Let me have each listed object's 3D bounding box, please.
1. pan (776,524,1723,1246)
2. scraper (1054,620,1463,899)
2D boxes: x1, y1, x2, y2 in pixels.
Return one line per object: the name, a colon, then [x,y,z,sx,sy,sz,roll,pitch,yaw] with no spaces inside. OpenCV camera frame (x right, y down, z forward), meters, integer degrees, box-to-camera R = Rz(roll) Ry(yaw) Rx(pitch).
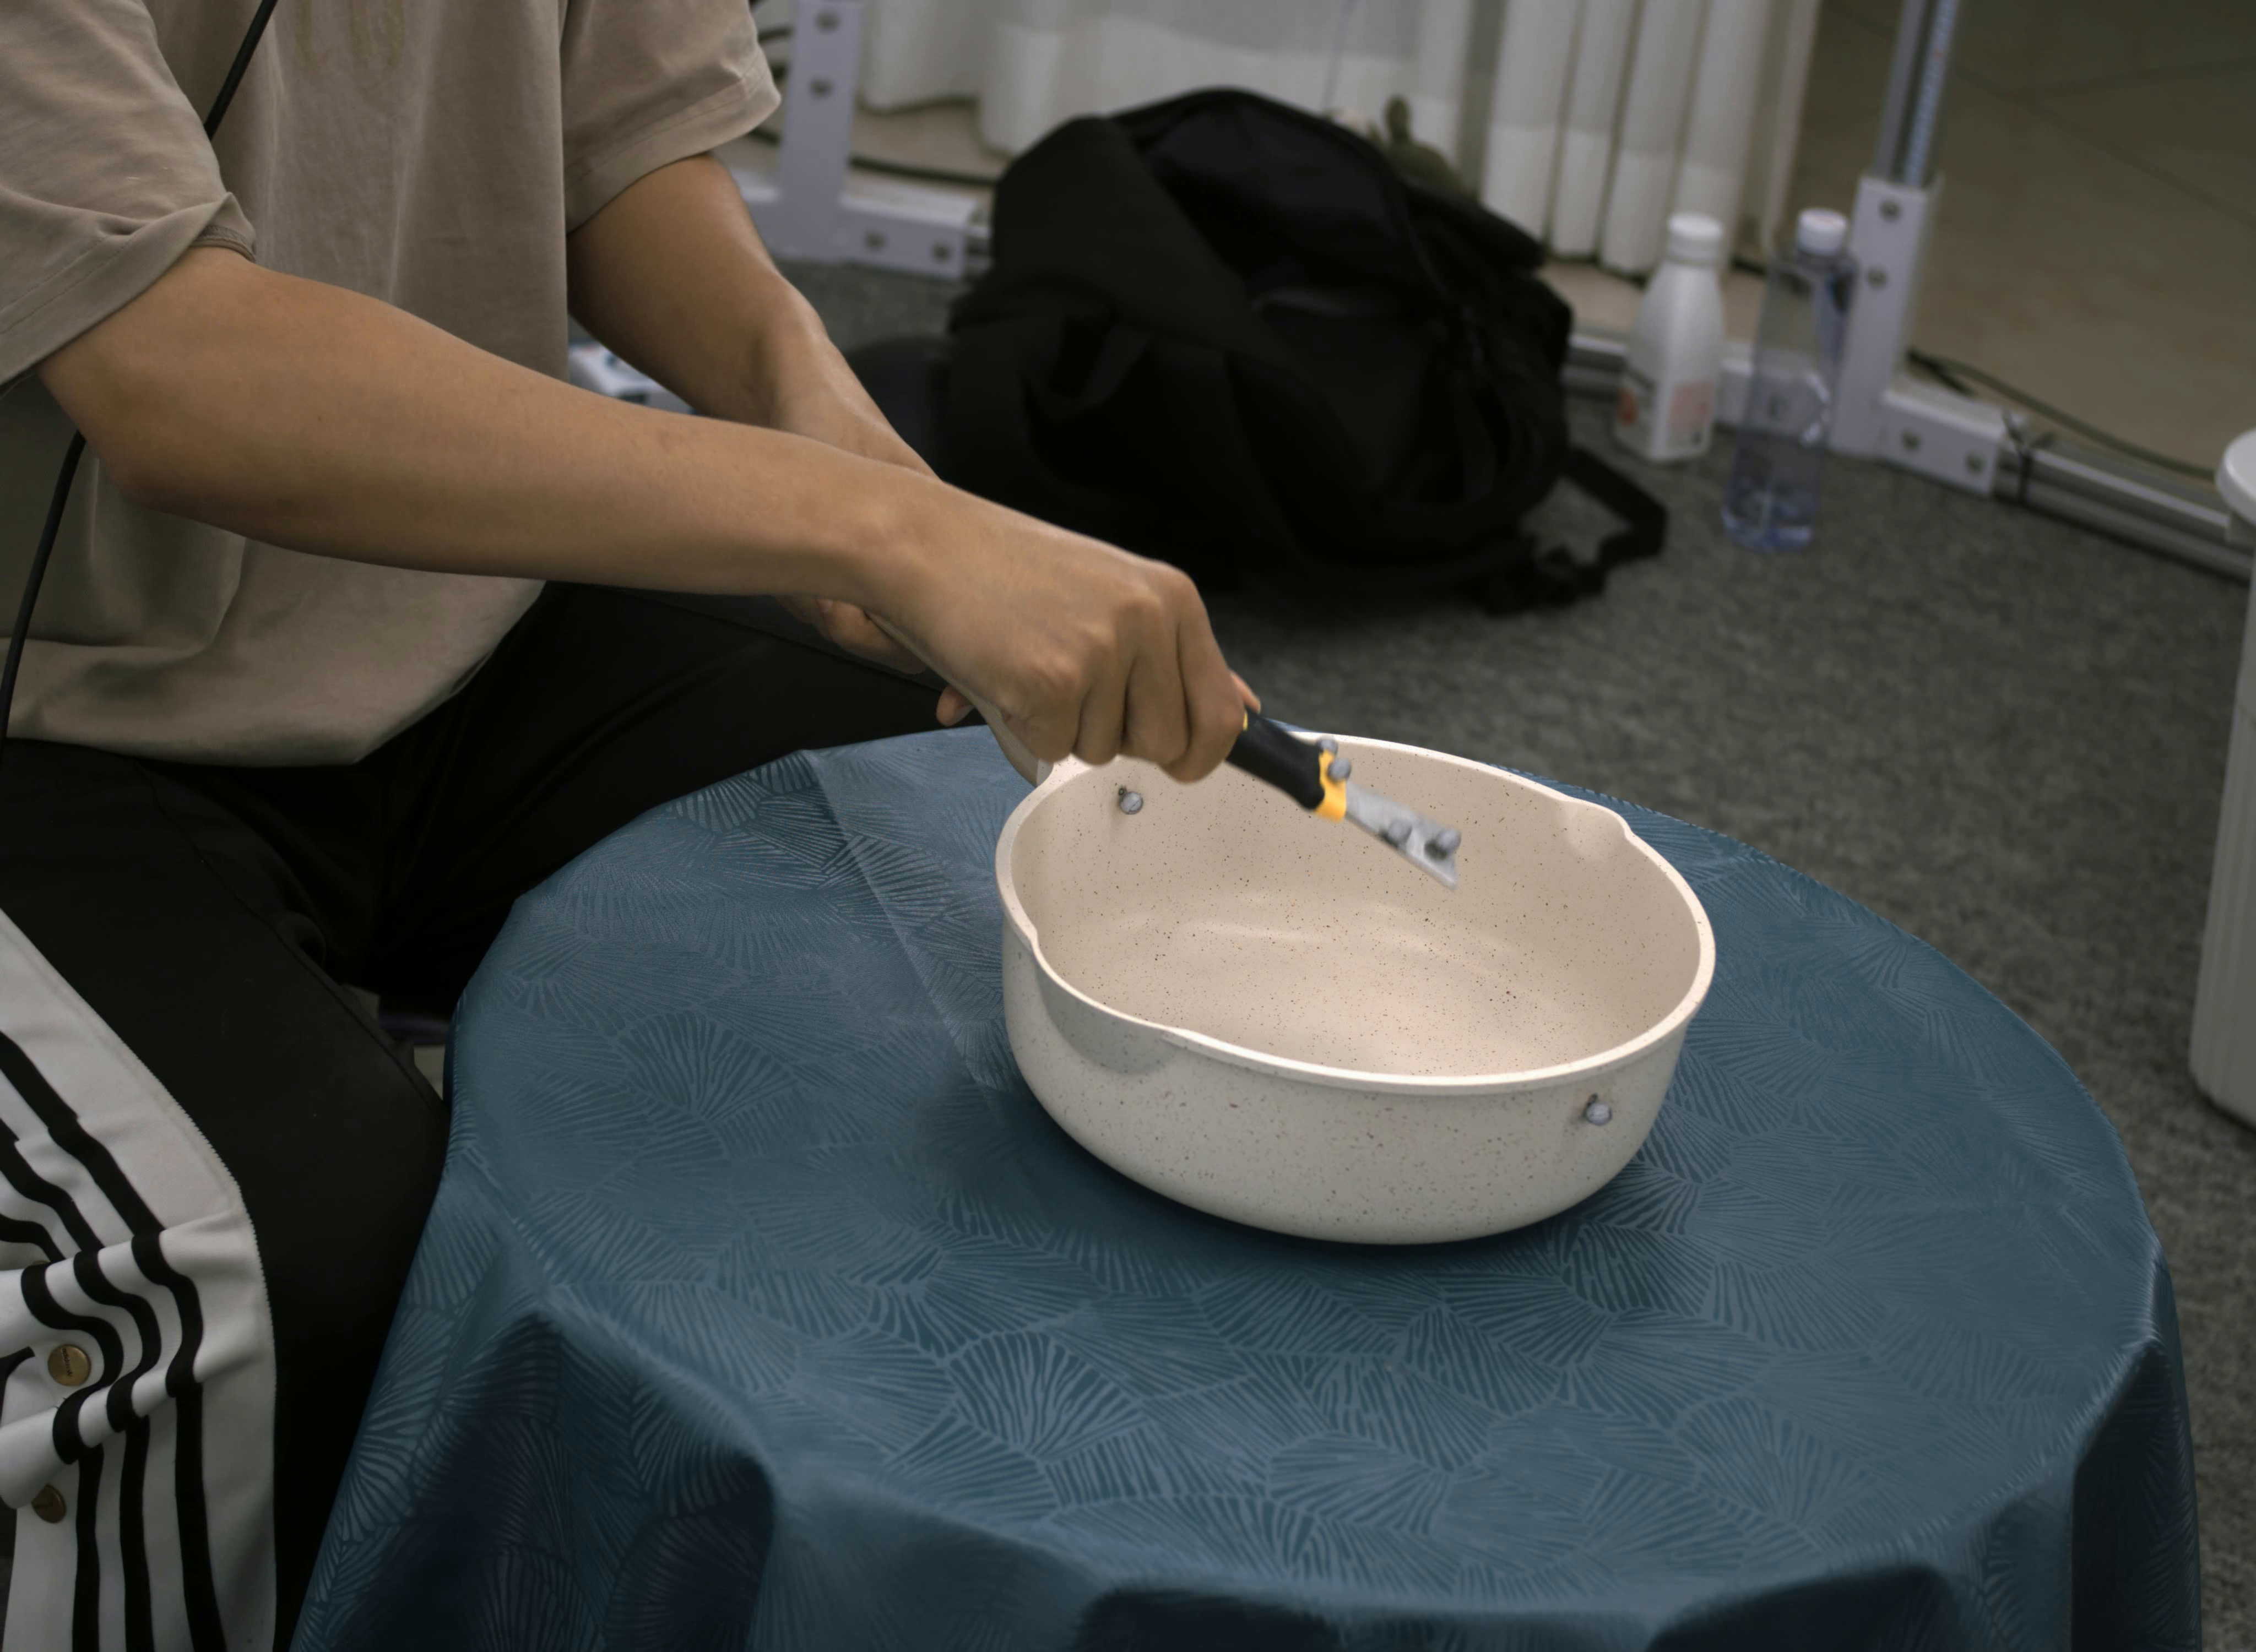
pan: [0.017,0.016,1.916,0.262,0.101,0.438,-20,37,-38]
scraper: [0.046,-0.023,1.822,0.170,0.015,0.039,29,38,-21]
